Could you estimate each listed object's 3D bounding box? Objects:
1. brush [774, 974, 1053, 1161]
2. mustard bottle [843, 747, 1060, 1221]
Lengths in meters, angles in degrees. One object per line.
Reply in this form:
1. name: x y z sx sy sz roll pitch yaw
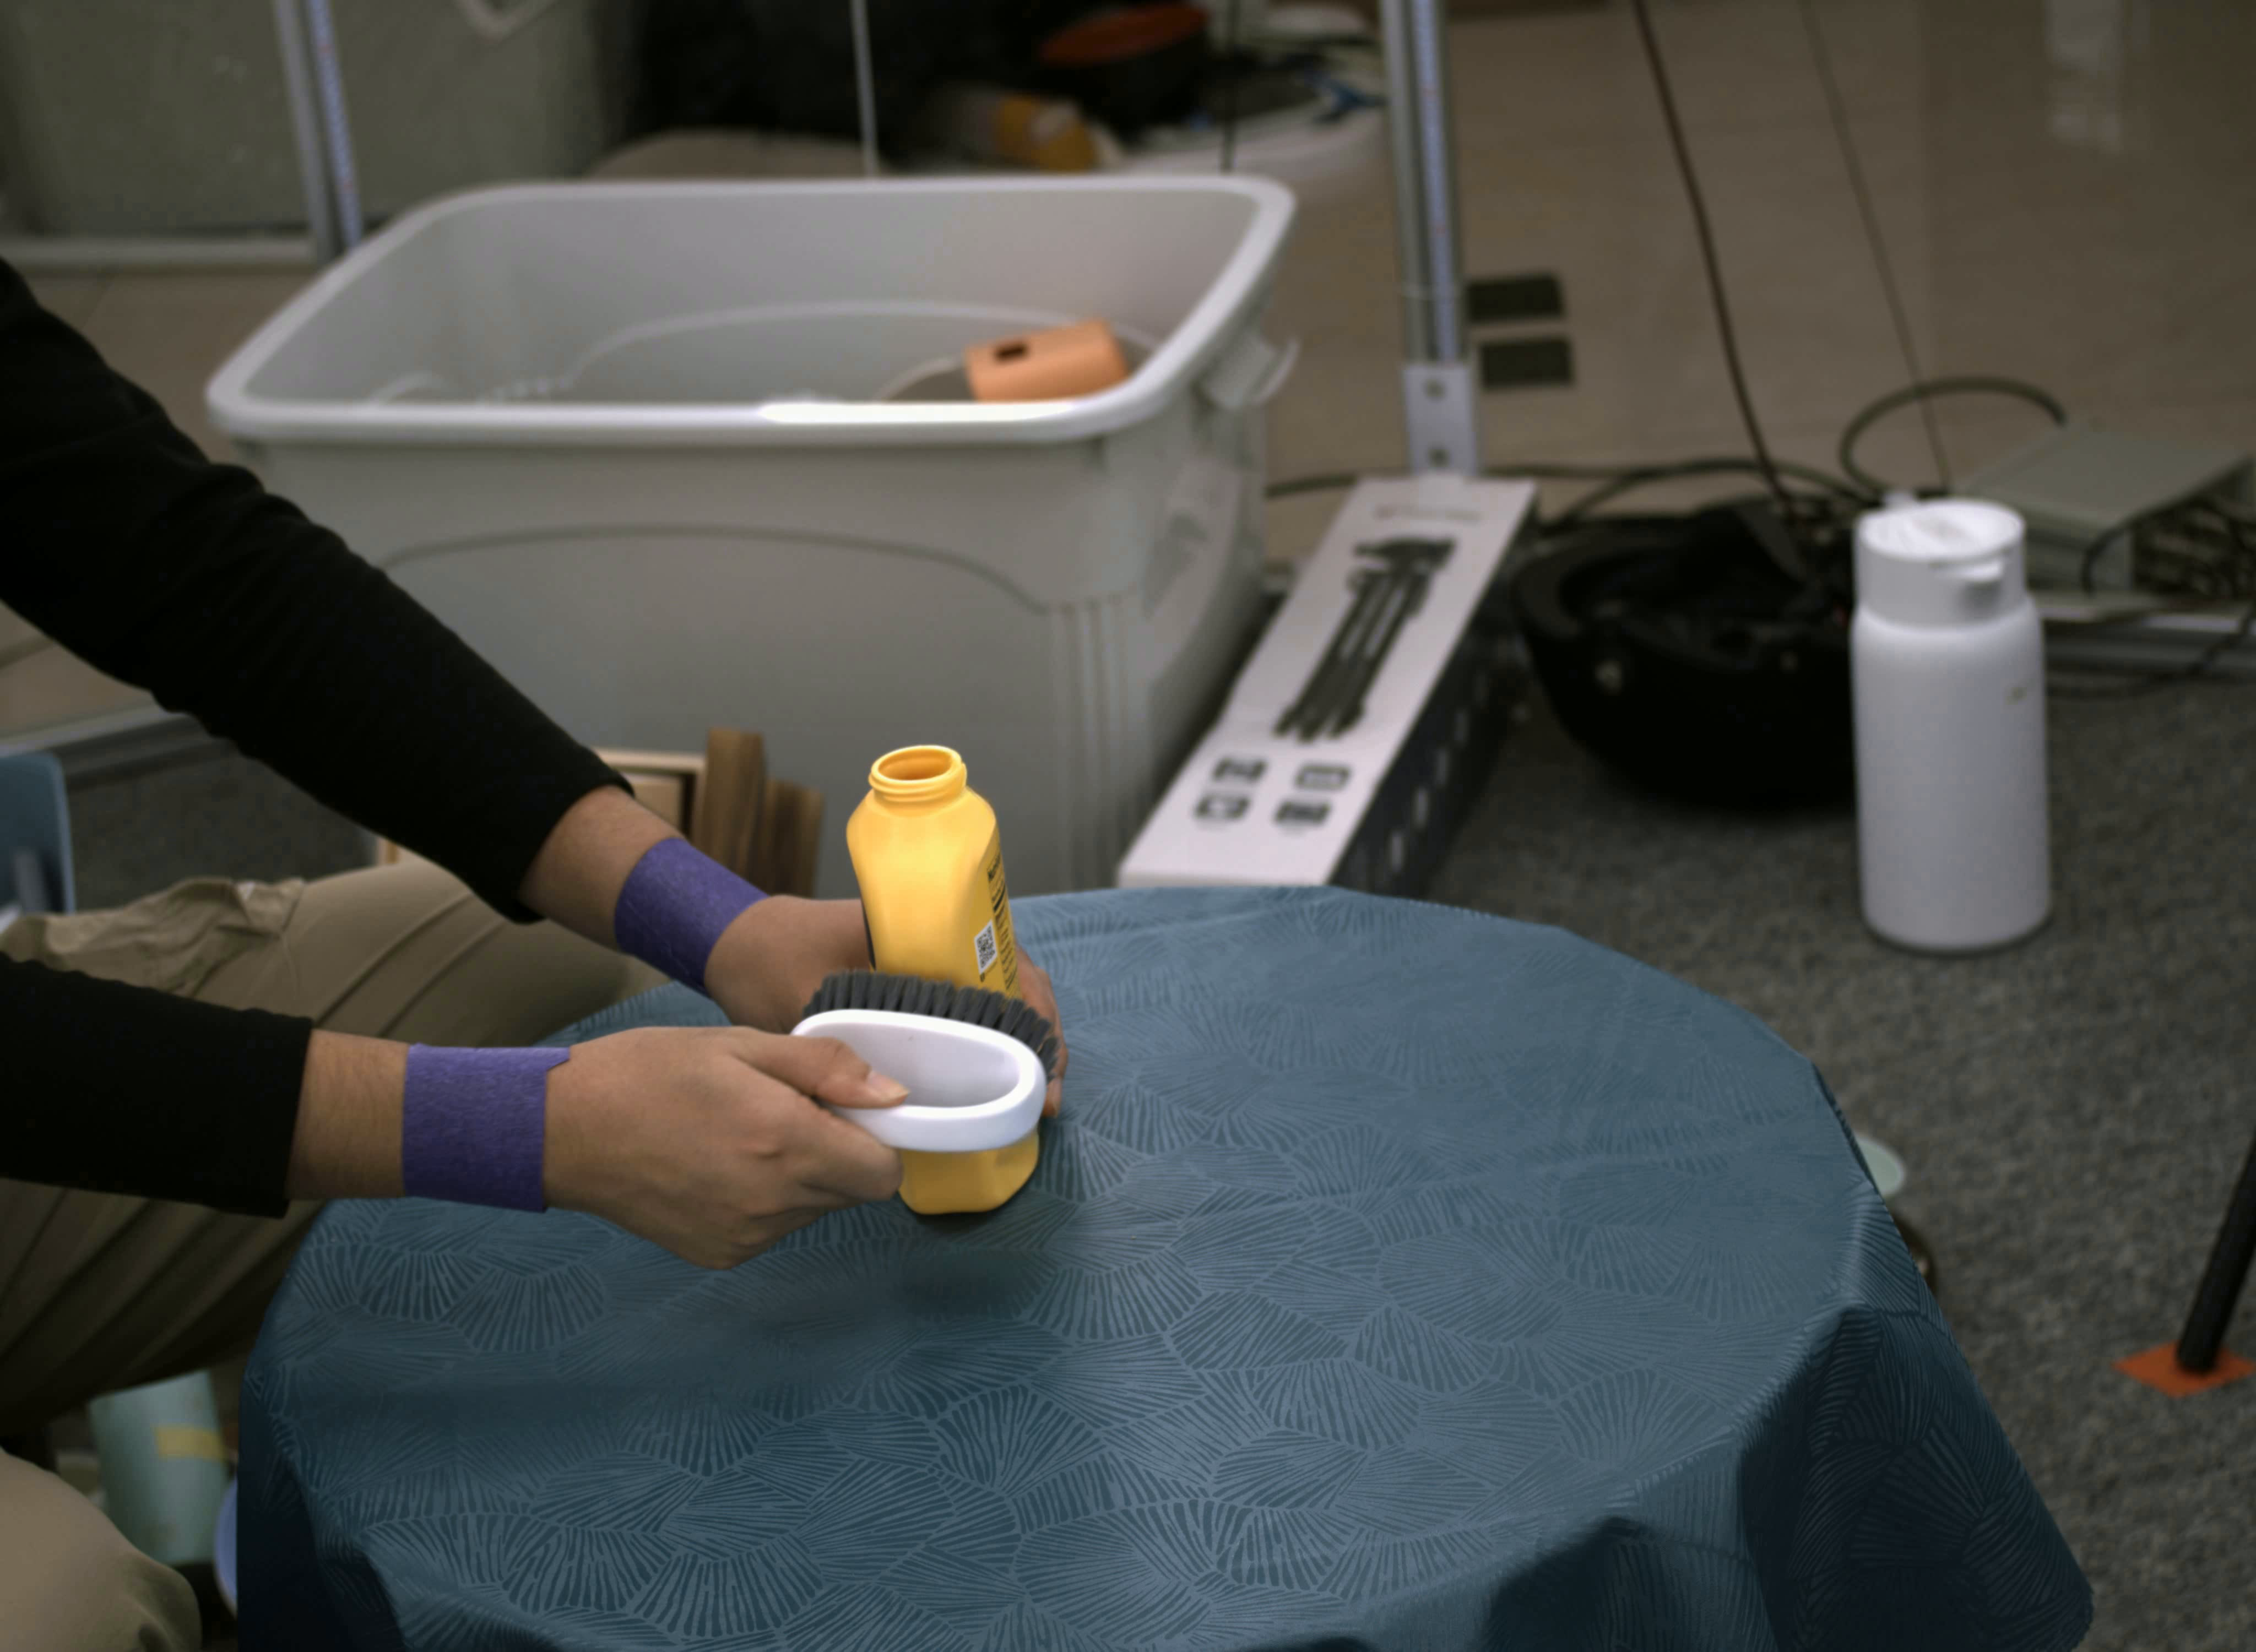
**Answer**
1. brush: -0.081 0.095 2.060 0.099 0.051 0.071 10 28 5
2. mustard bottle: -0.068 0.055 2.141 0.059 0.175 0.097 -8 26 6
